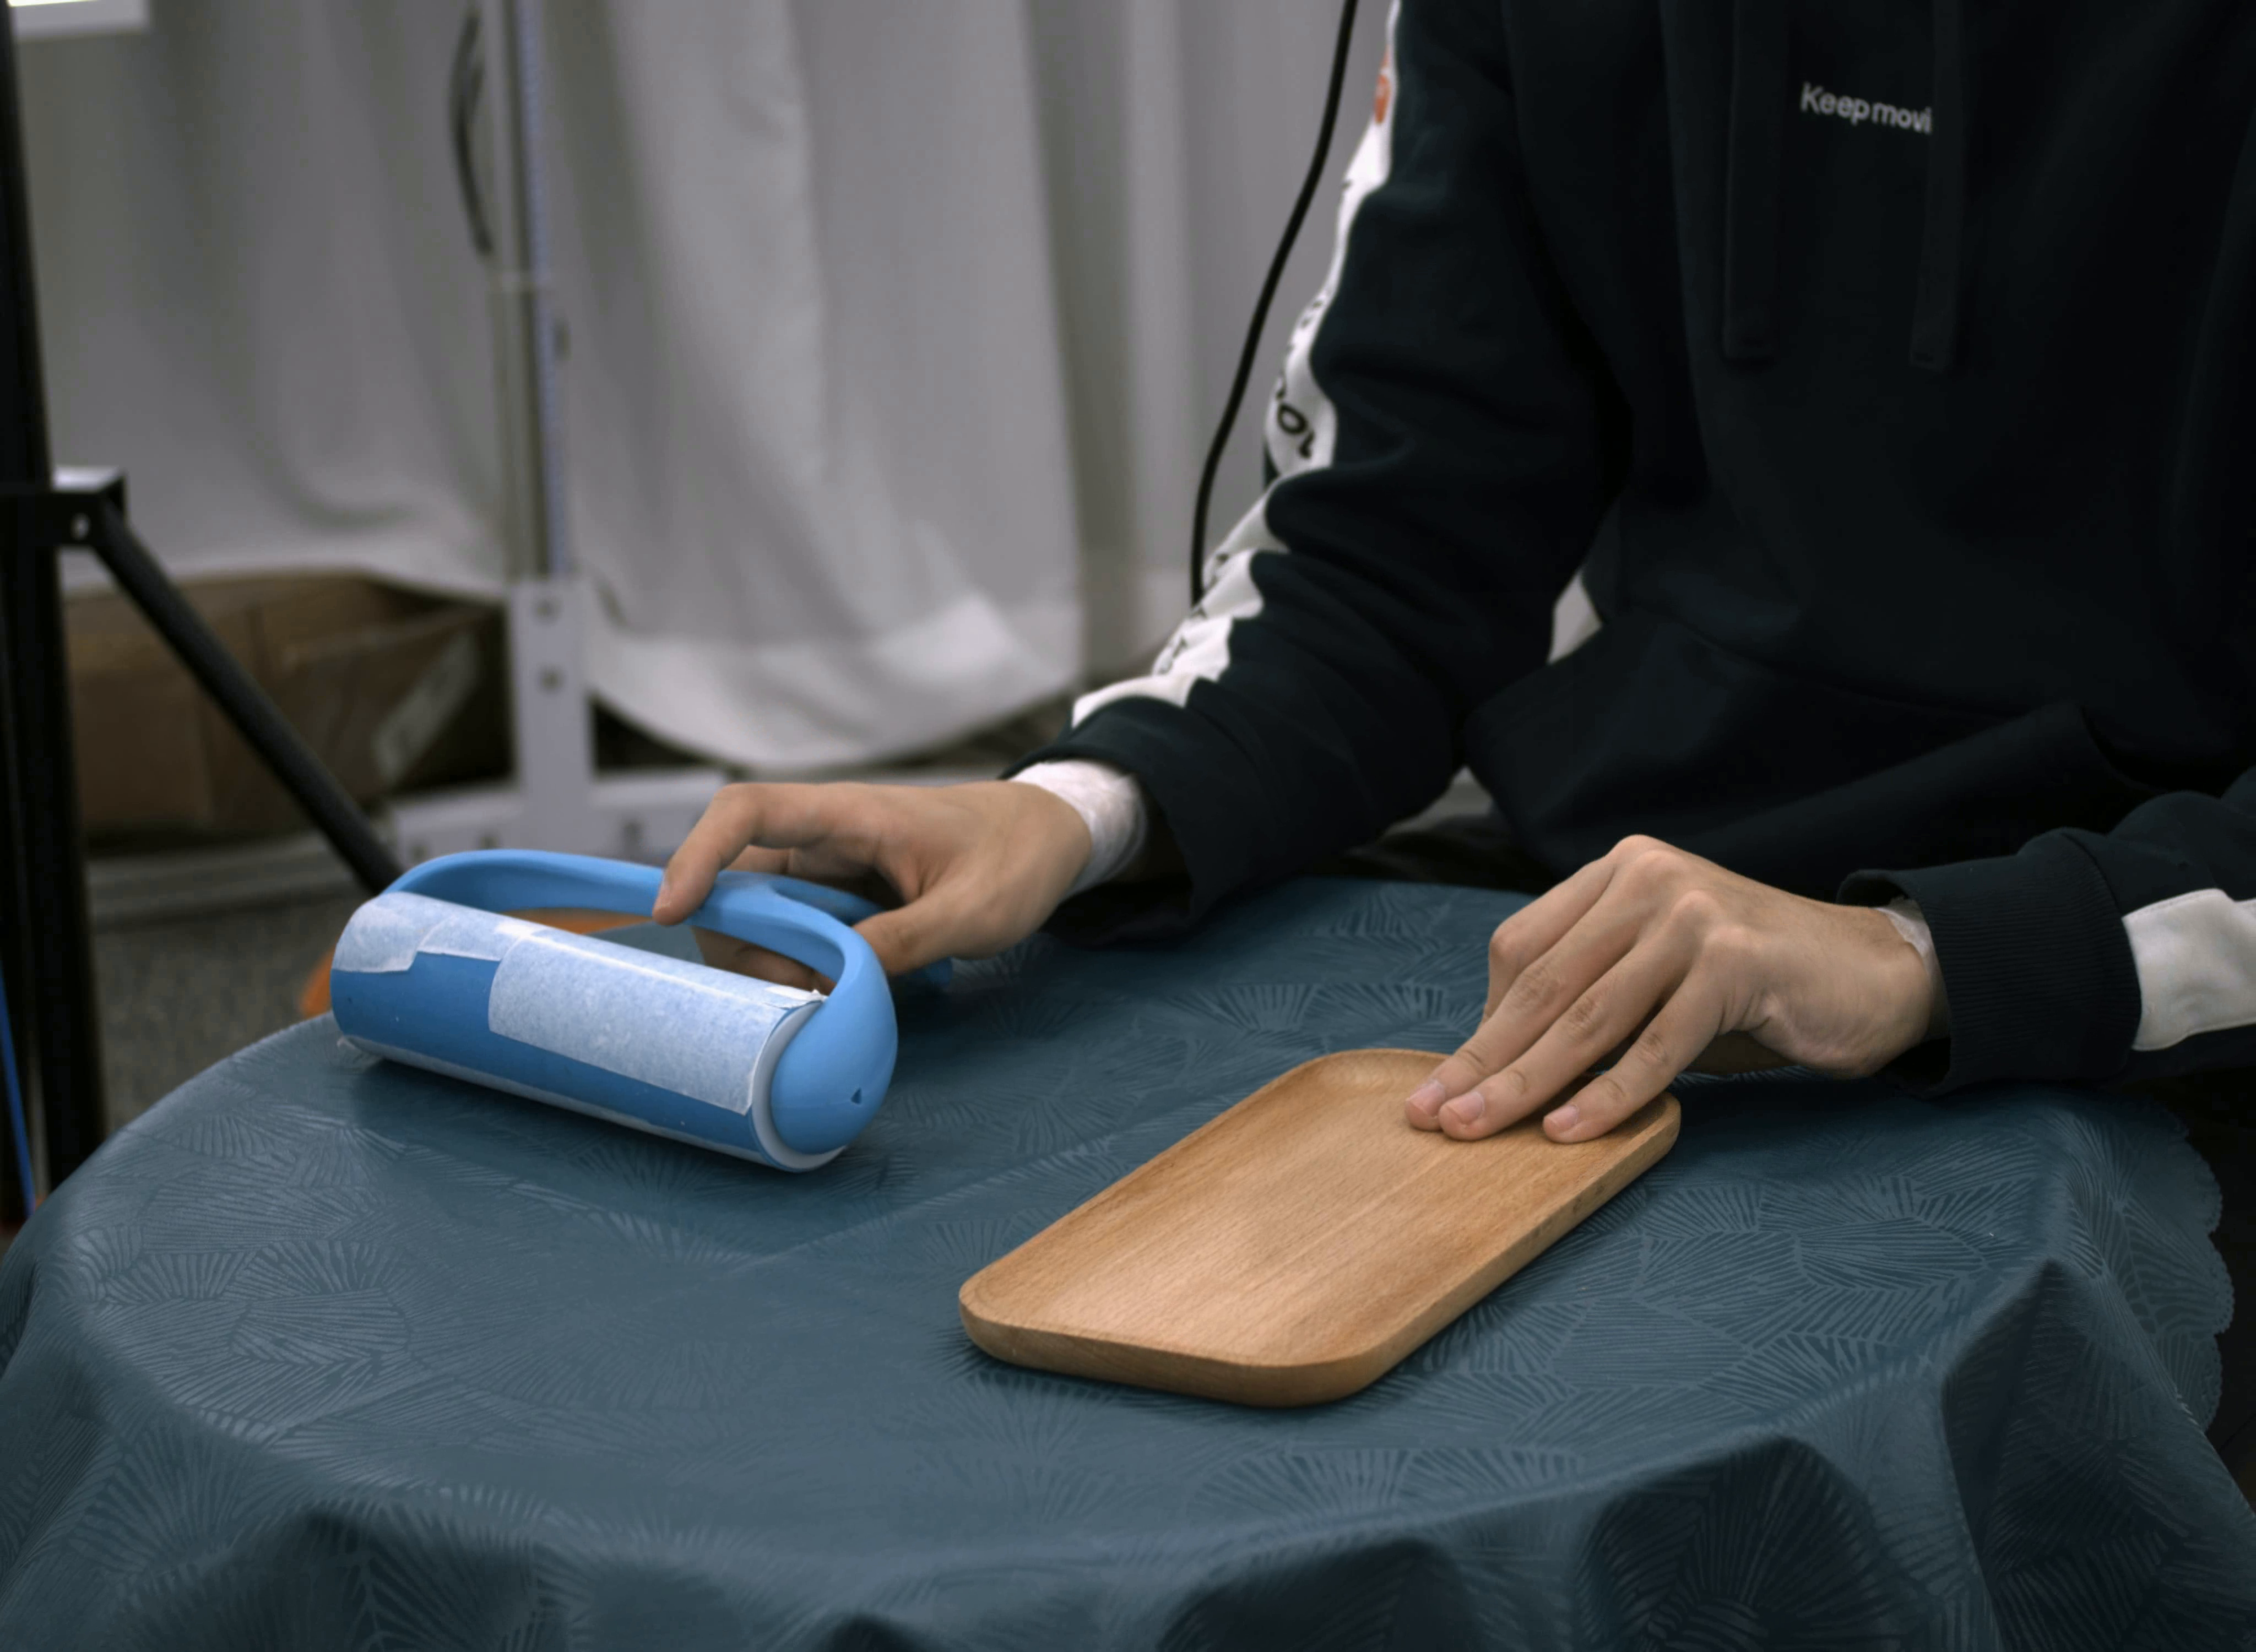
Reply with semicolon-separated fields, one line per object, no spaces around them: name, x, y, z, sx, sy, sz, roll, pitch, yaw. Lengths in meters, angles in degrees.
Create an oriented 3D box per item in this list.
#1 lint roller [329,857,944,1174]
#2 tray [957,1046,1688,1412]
lint roller;-0.127;0.047;1.690;0.234;0.068;0.176;9;21;40
tray;0.060;0.111;1.504;0.133;0.023;0.246;9;19;29
